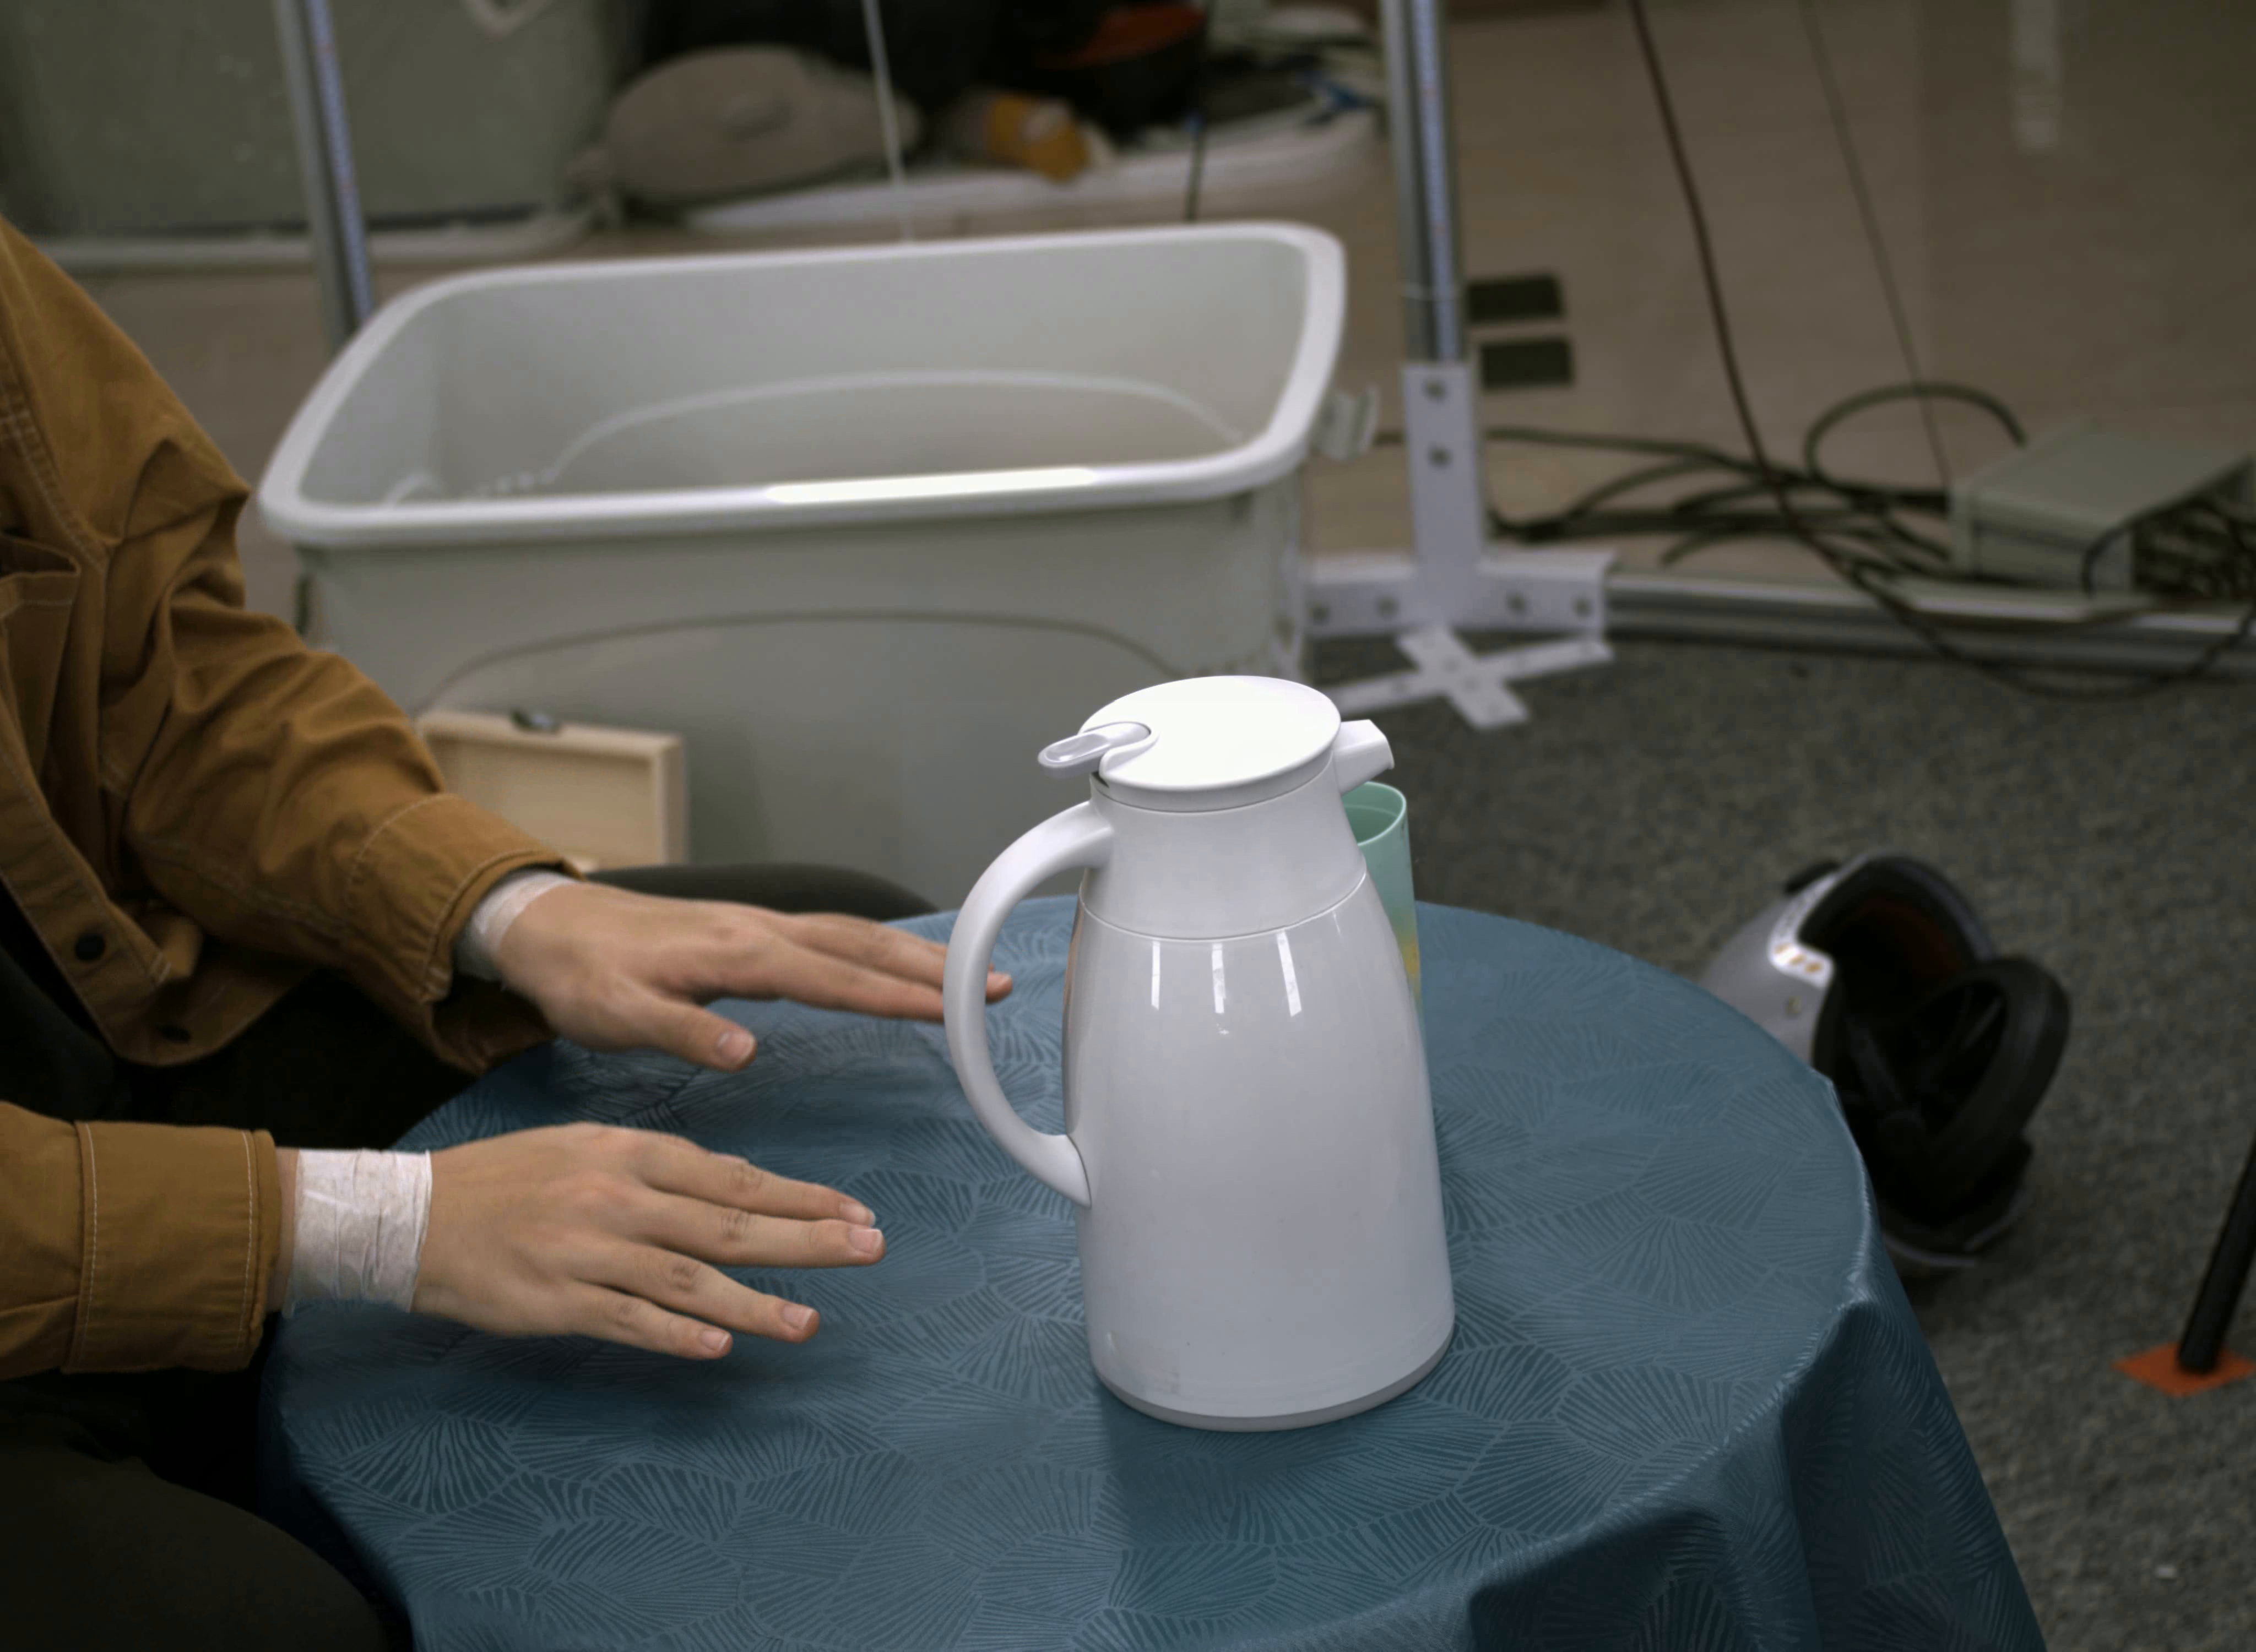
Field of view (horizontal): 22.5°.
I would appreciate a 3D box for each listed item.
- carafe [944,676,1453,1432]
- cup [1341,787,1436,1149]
[{"bbox_3d":[0.021,0.077,1.979,0.167,0.253,0.131,-14,27,-14],"label":"carafe"},{"bbox_3d":[0.080,0.057,2.157,0.066,0.134,0.066,-5,26,2],"label":"cup"}]
